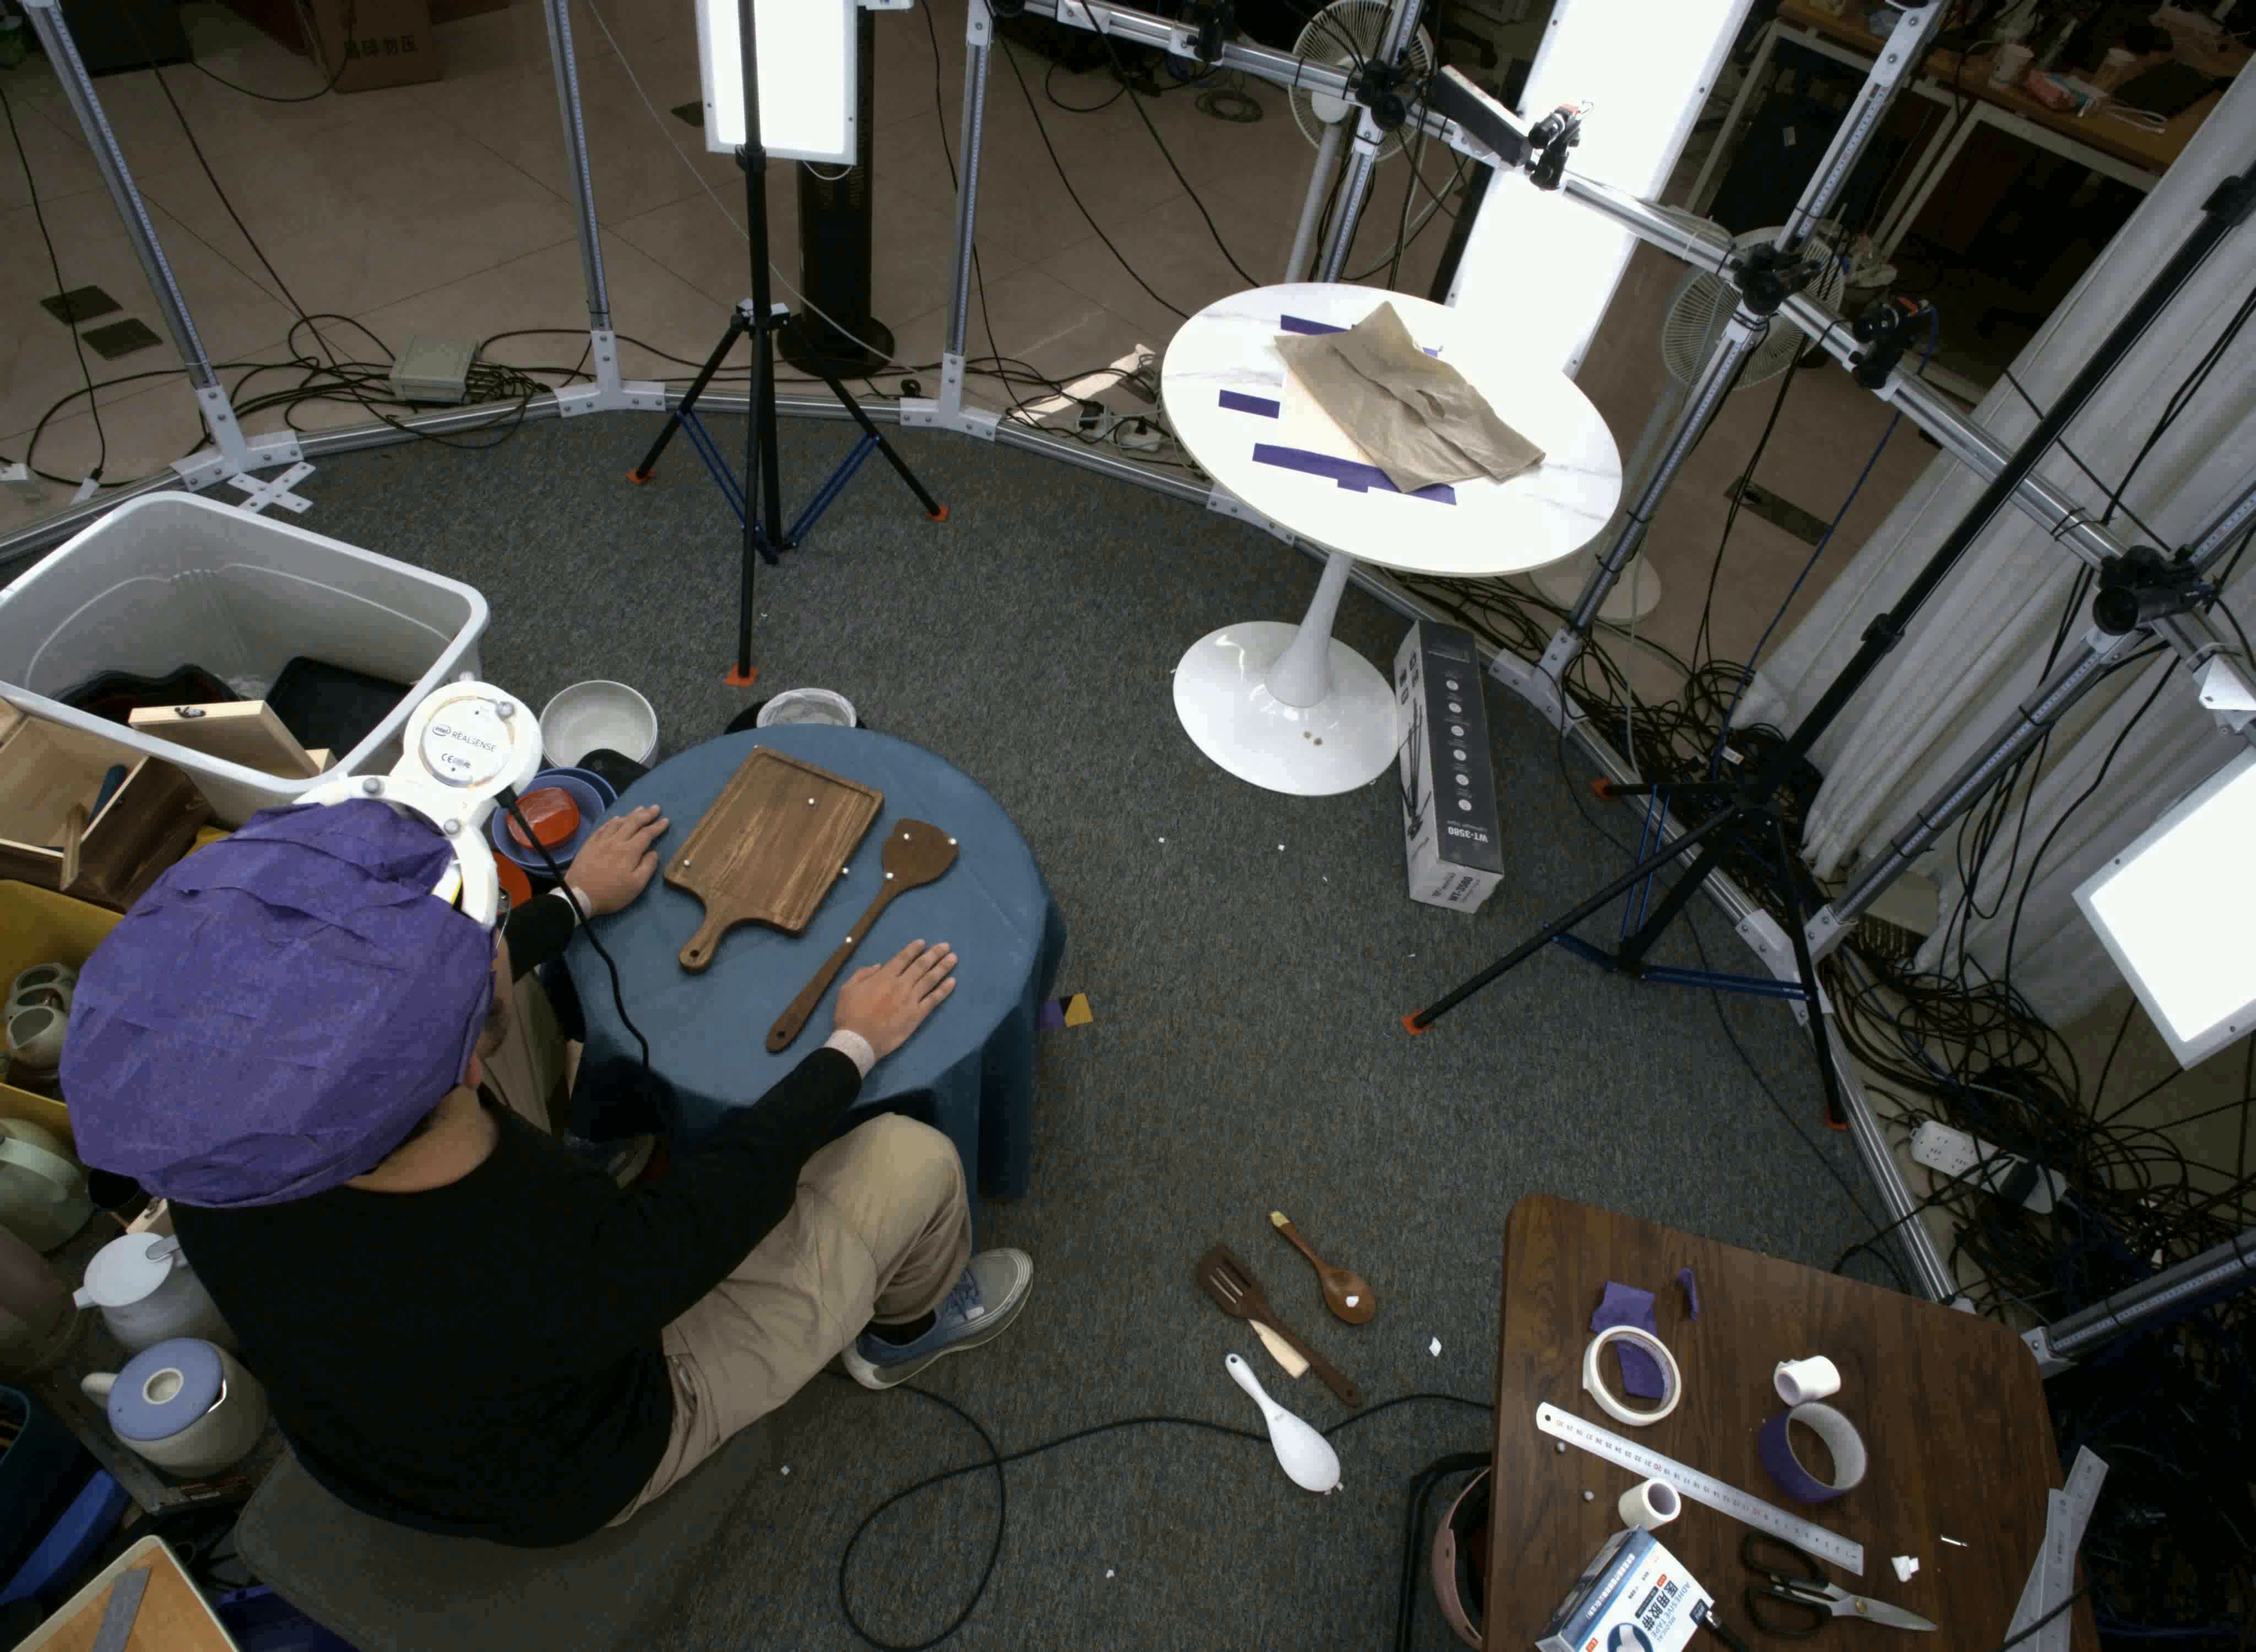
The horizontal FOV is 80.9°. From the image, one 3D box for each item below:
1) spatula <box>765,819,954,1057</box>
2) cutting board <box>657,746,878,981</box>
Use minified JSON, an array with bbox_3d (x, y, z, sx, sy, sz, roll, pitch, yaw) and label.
[{"bbox_3d":[-0.343,0.133,1.631,0.095,0.016,0.383,26,52,6],"label":"spatula"},{"bbox_3d":[-0.480,0.050,1.654,0.199,0.023,0.349,21,52,2],"label":"cutting board"}]
